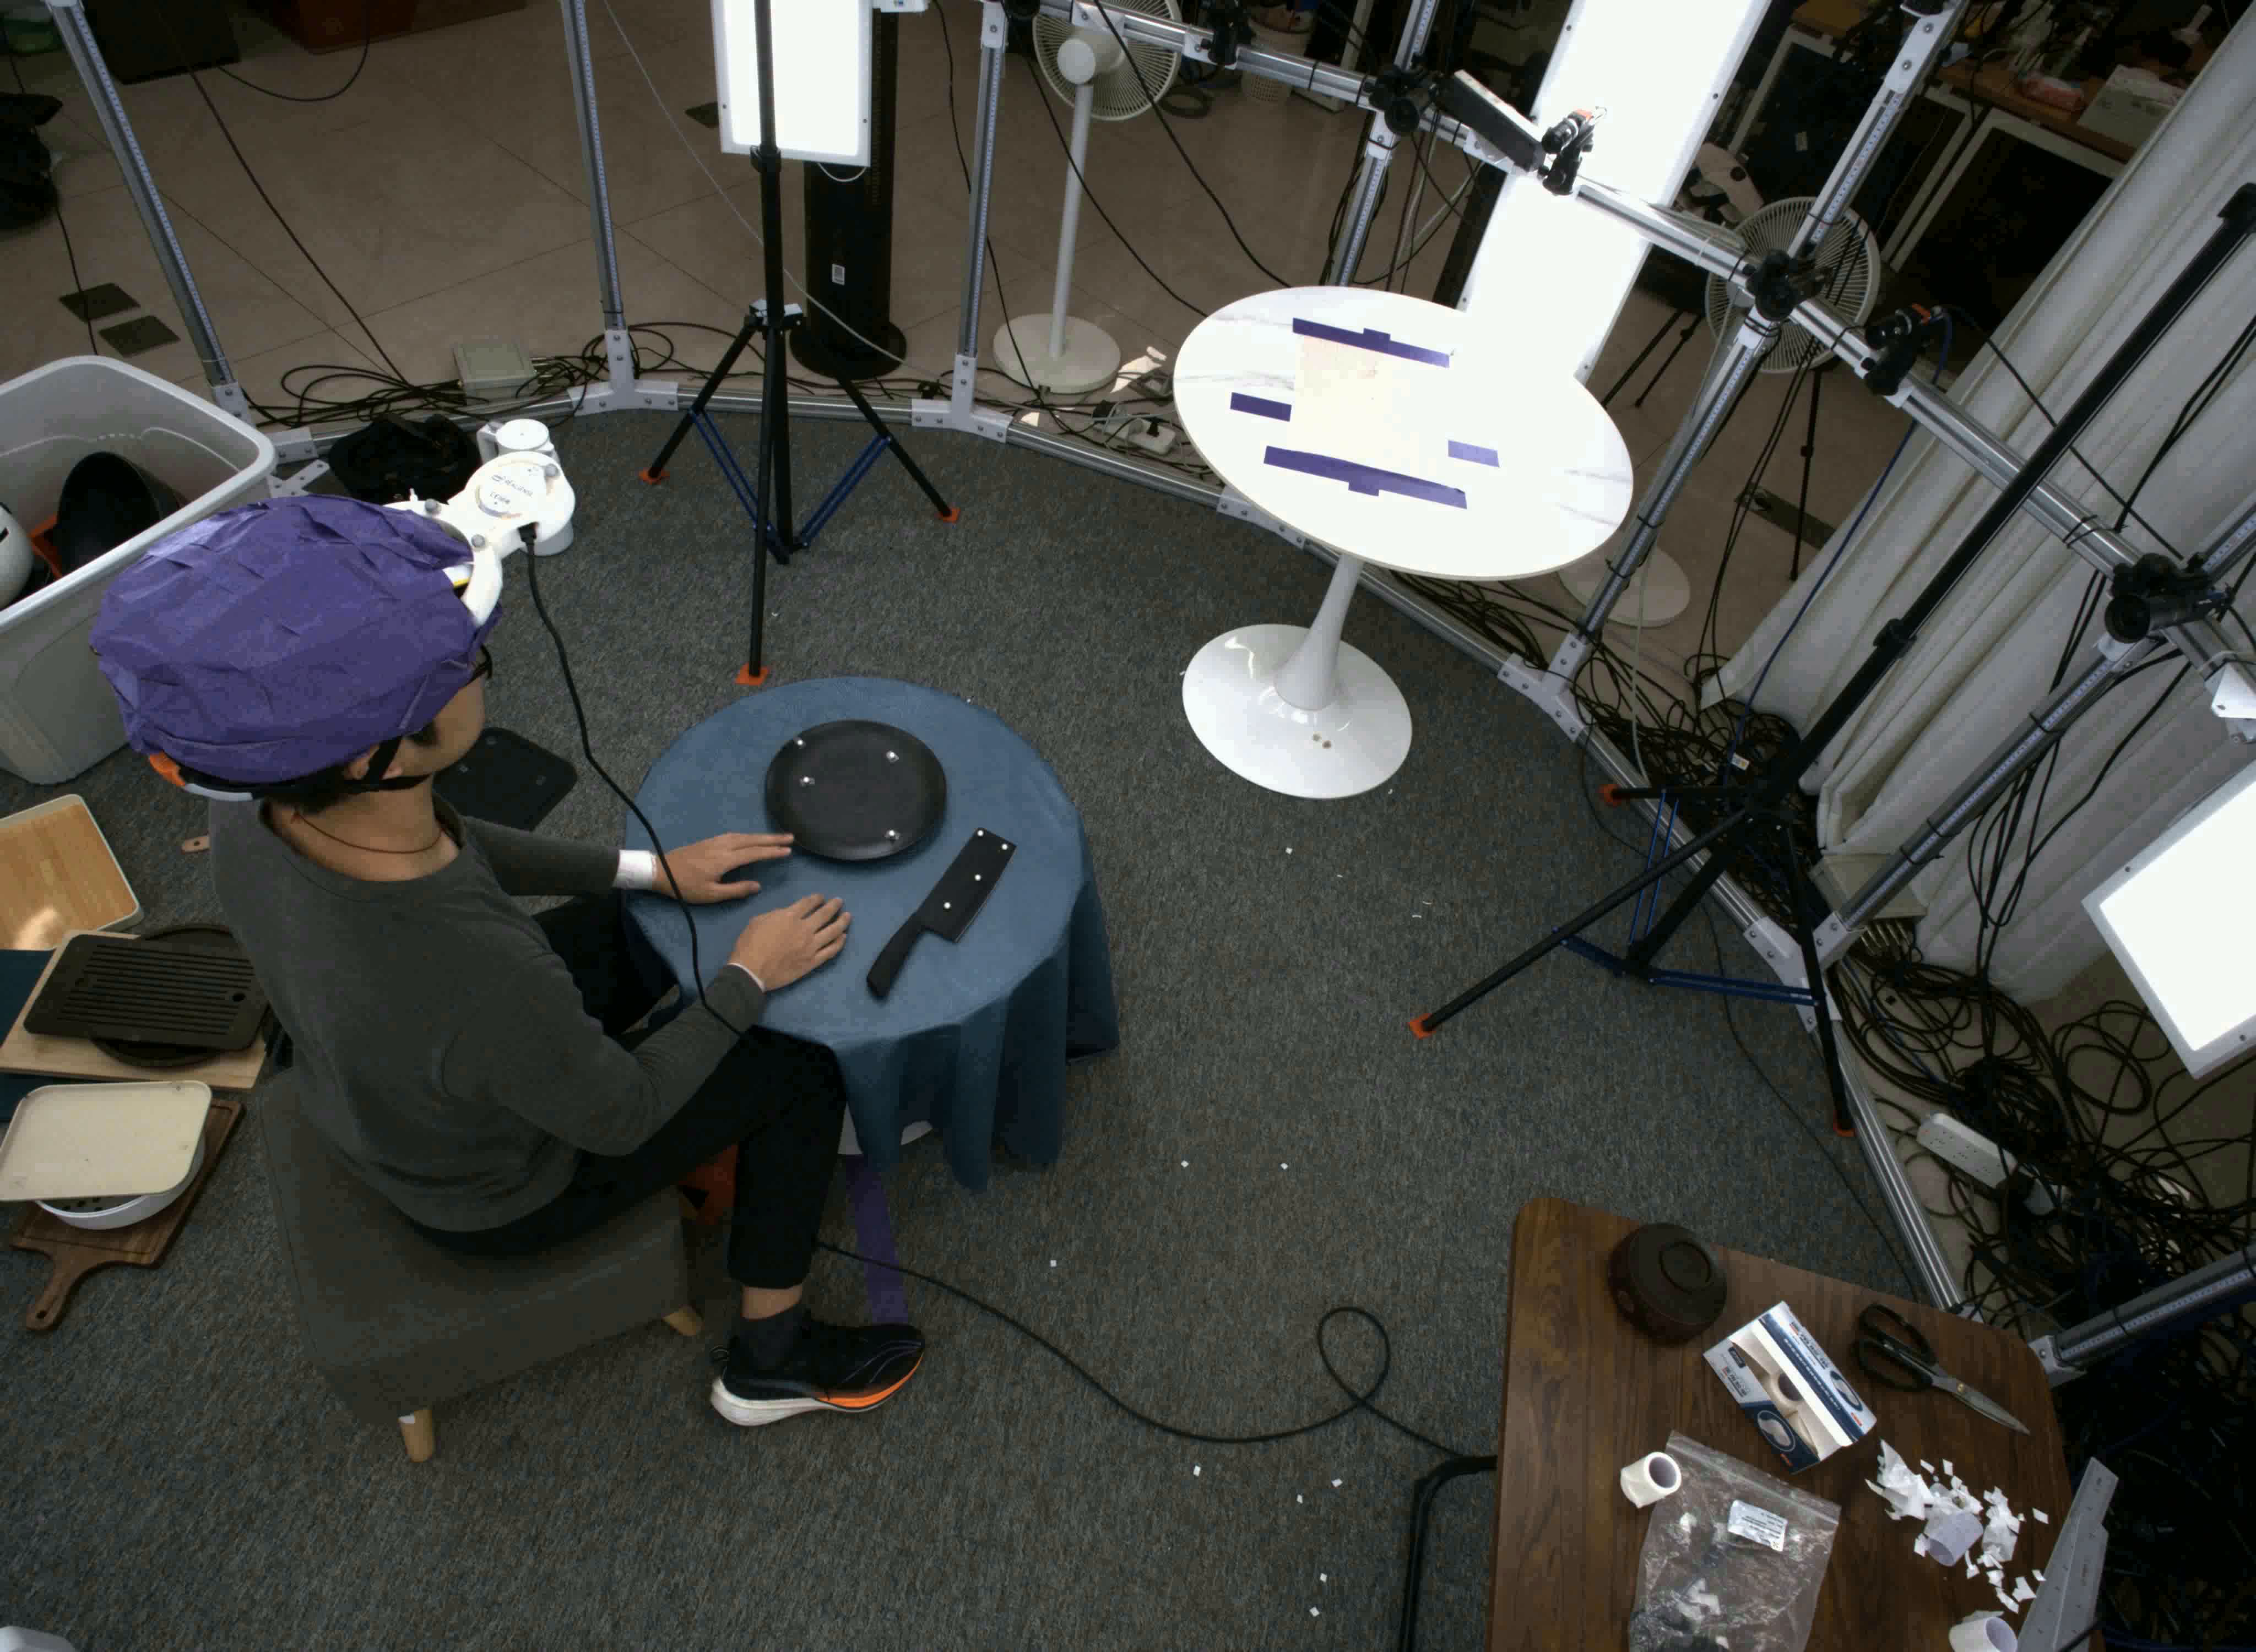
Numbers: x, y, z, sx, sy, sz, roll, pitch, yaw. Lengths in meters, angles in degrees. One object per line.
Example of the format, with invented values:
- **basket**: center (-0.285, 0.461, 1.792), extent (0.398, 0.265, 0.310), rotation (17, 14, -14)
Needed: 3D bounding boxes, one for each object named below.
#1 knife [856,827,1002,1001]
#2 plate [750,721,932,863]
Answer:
- **knife**: center (-0.258, 0.110, 1.688), extent (0.080, 0.021, 0.301), rotation (30, 51, 7)
- **plate**: center (-0.388, -0.045, 1.763), extent (0.244, 0.024, 0.240), rotation (8, 53, -8)
